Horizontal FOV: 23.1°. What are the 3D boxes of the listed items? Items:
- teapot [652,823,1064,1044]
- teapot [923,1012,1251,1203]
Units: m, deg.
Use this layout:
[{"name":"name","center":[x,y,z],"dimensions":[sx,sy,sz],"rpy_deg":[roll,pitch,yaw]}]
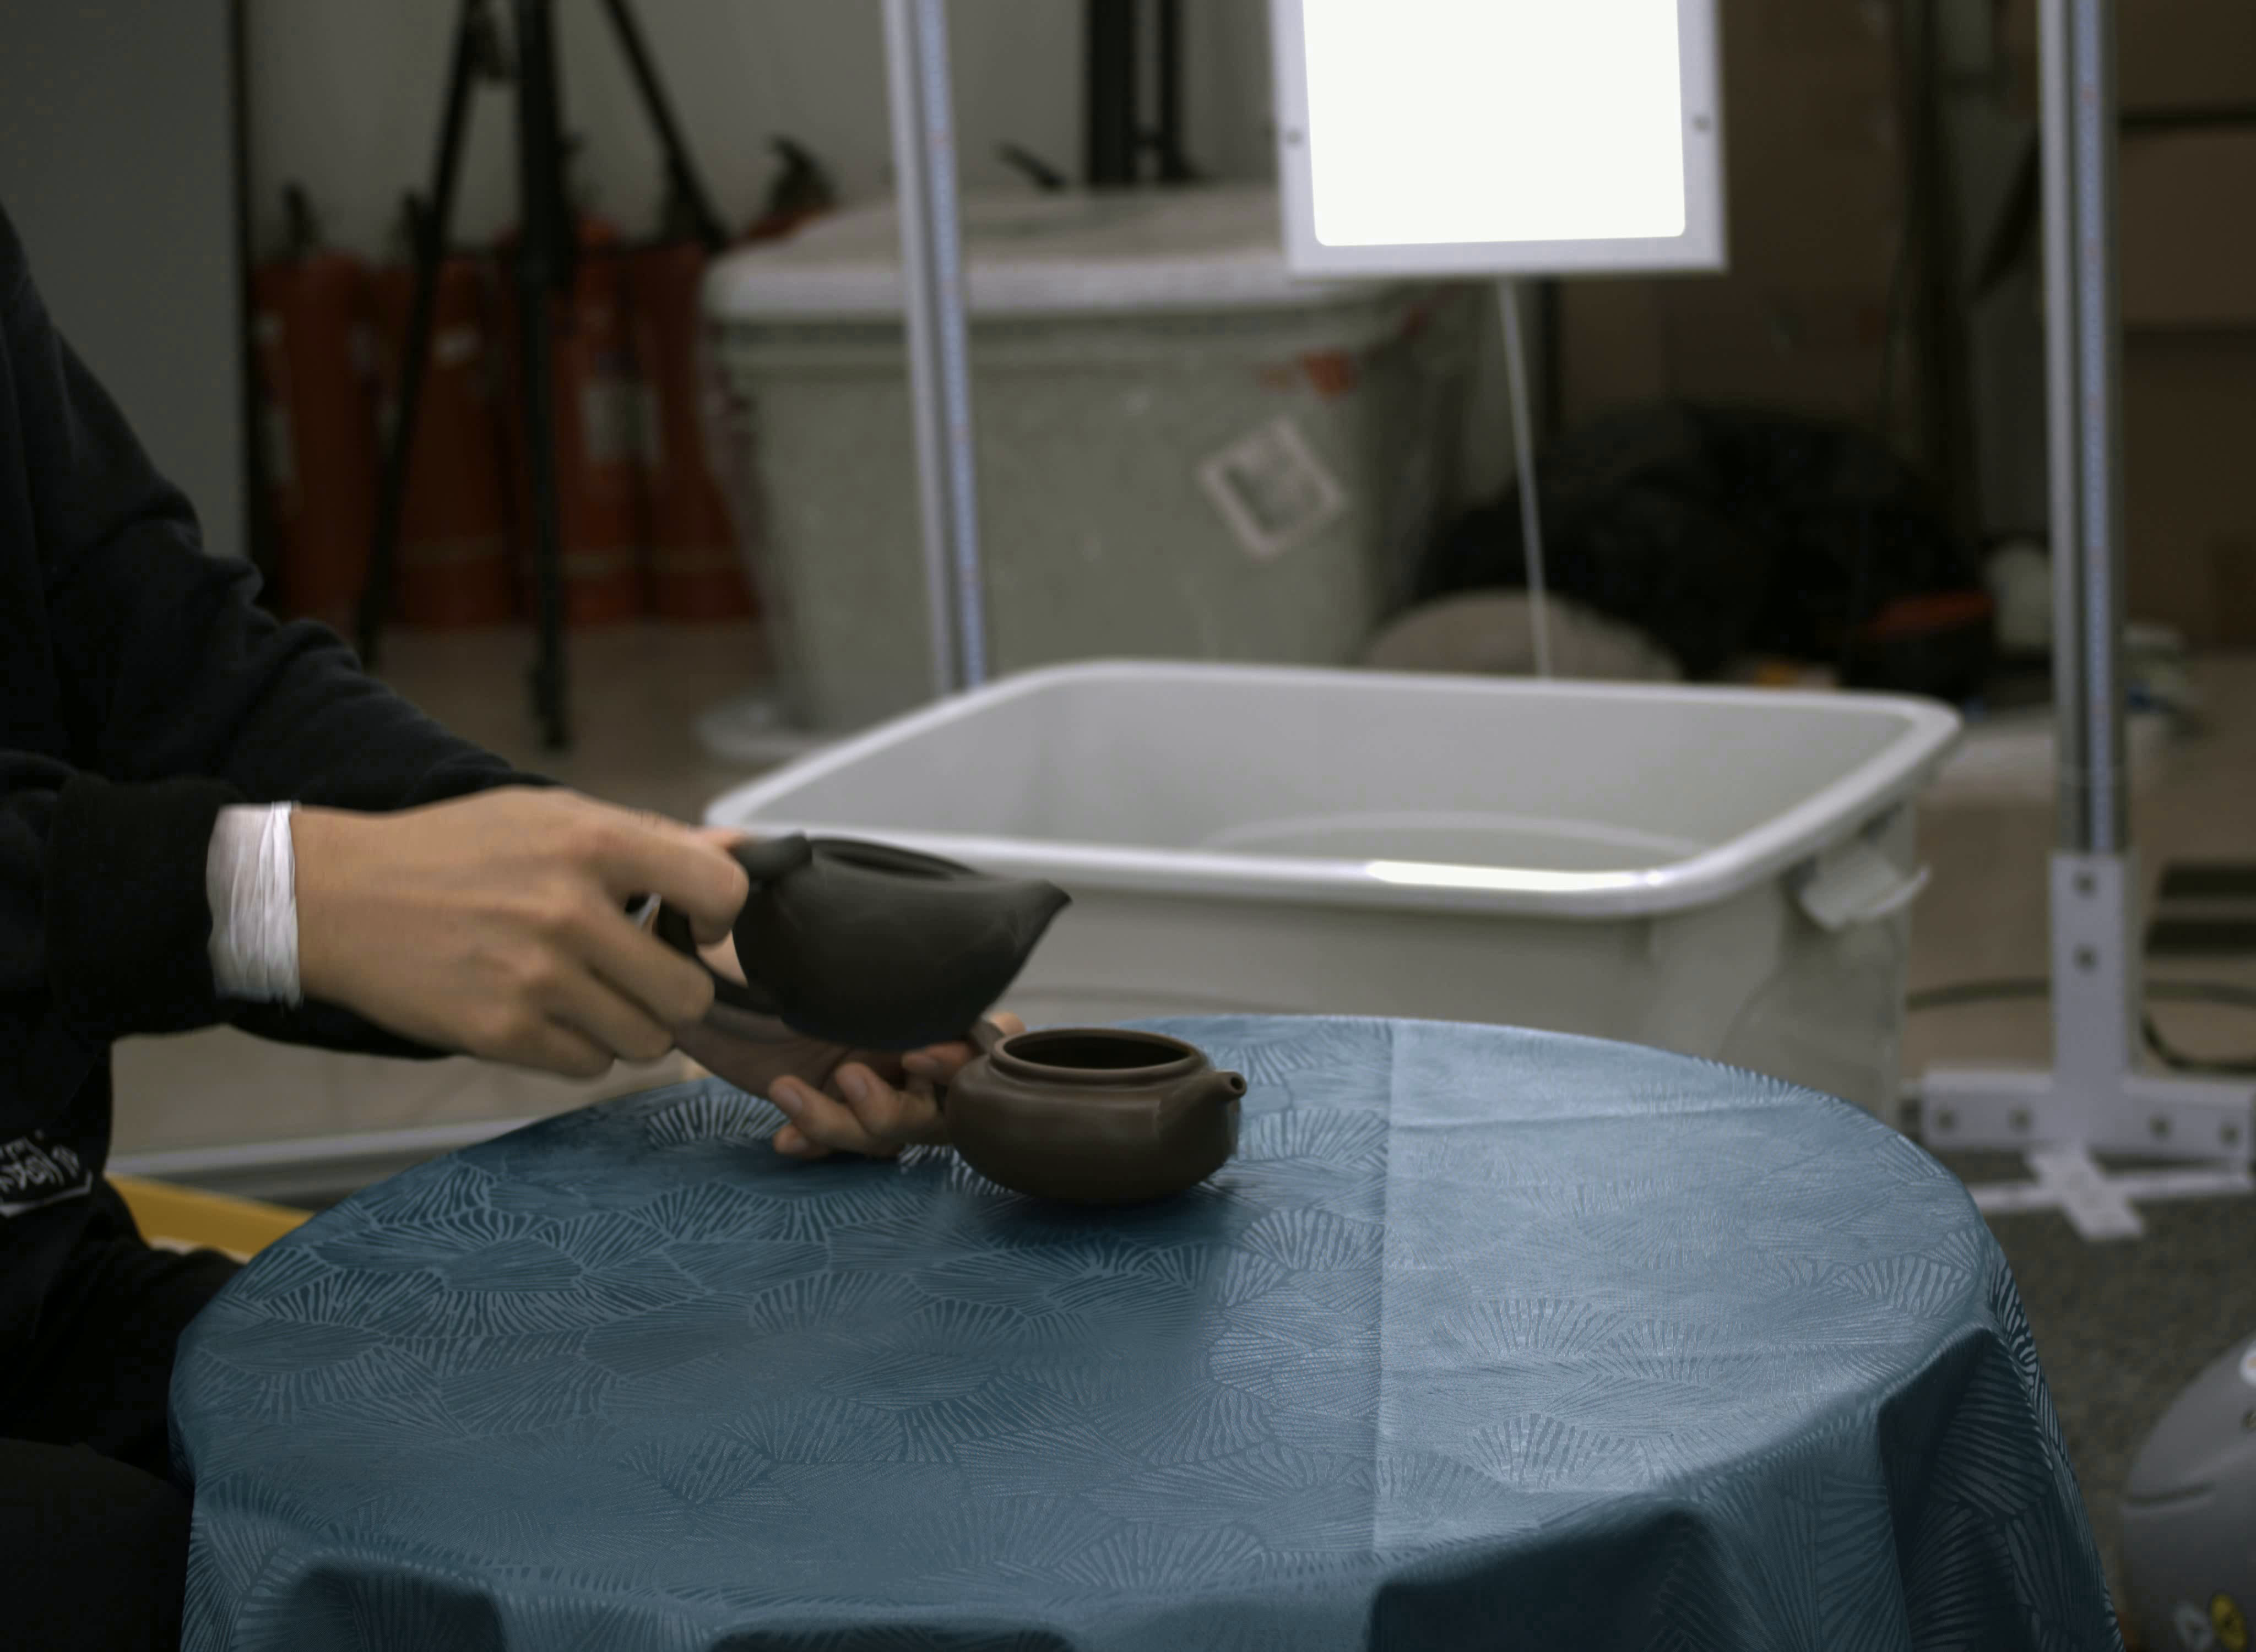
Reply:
[{"name":"teapot","center":[-0.085,0.033,1.756],"dimensions":[0.150,0.065,0.094],"rpy_deg":[6,7,-35]},{"name":"teapot","center":[-0.016,0.097,1.898],"dimensions":[0.157,0.054,0.100],"rpy_deg":[12,13,42]}]
